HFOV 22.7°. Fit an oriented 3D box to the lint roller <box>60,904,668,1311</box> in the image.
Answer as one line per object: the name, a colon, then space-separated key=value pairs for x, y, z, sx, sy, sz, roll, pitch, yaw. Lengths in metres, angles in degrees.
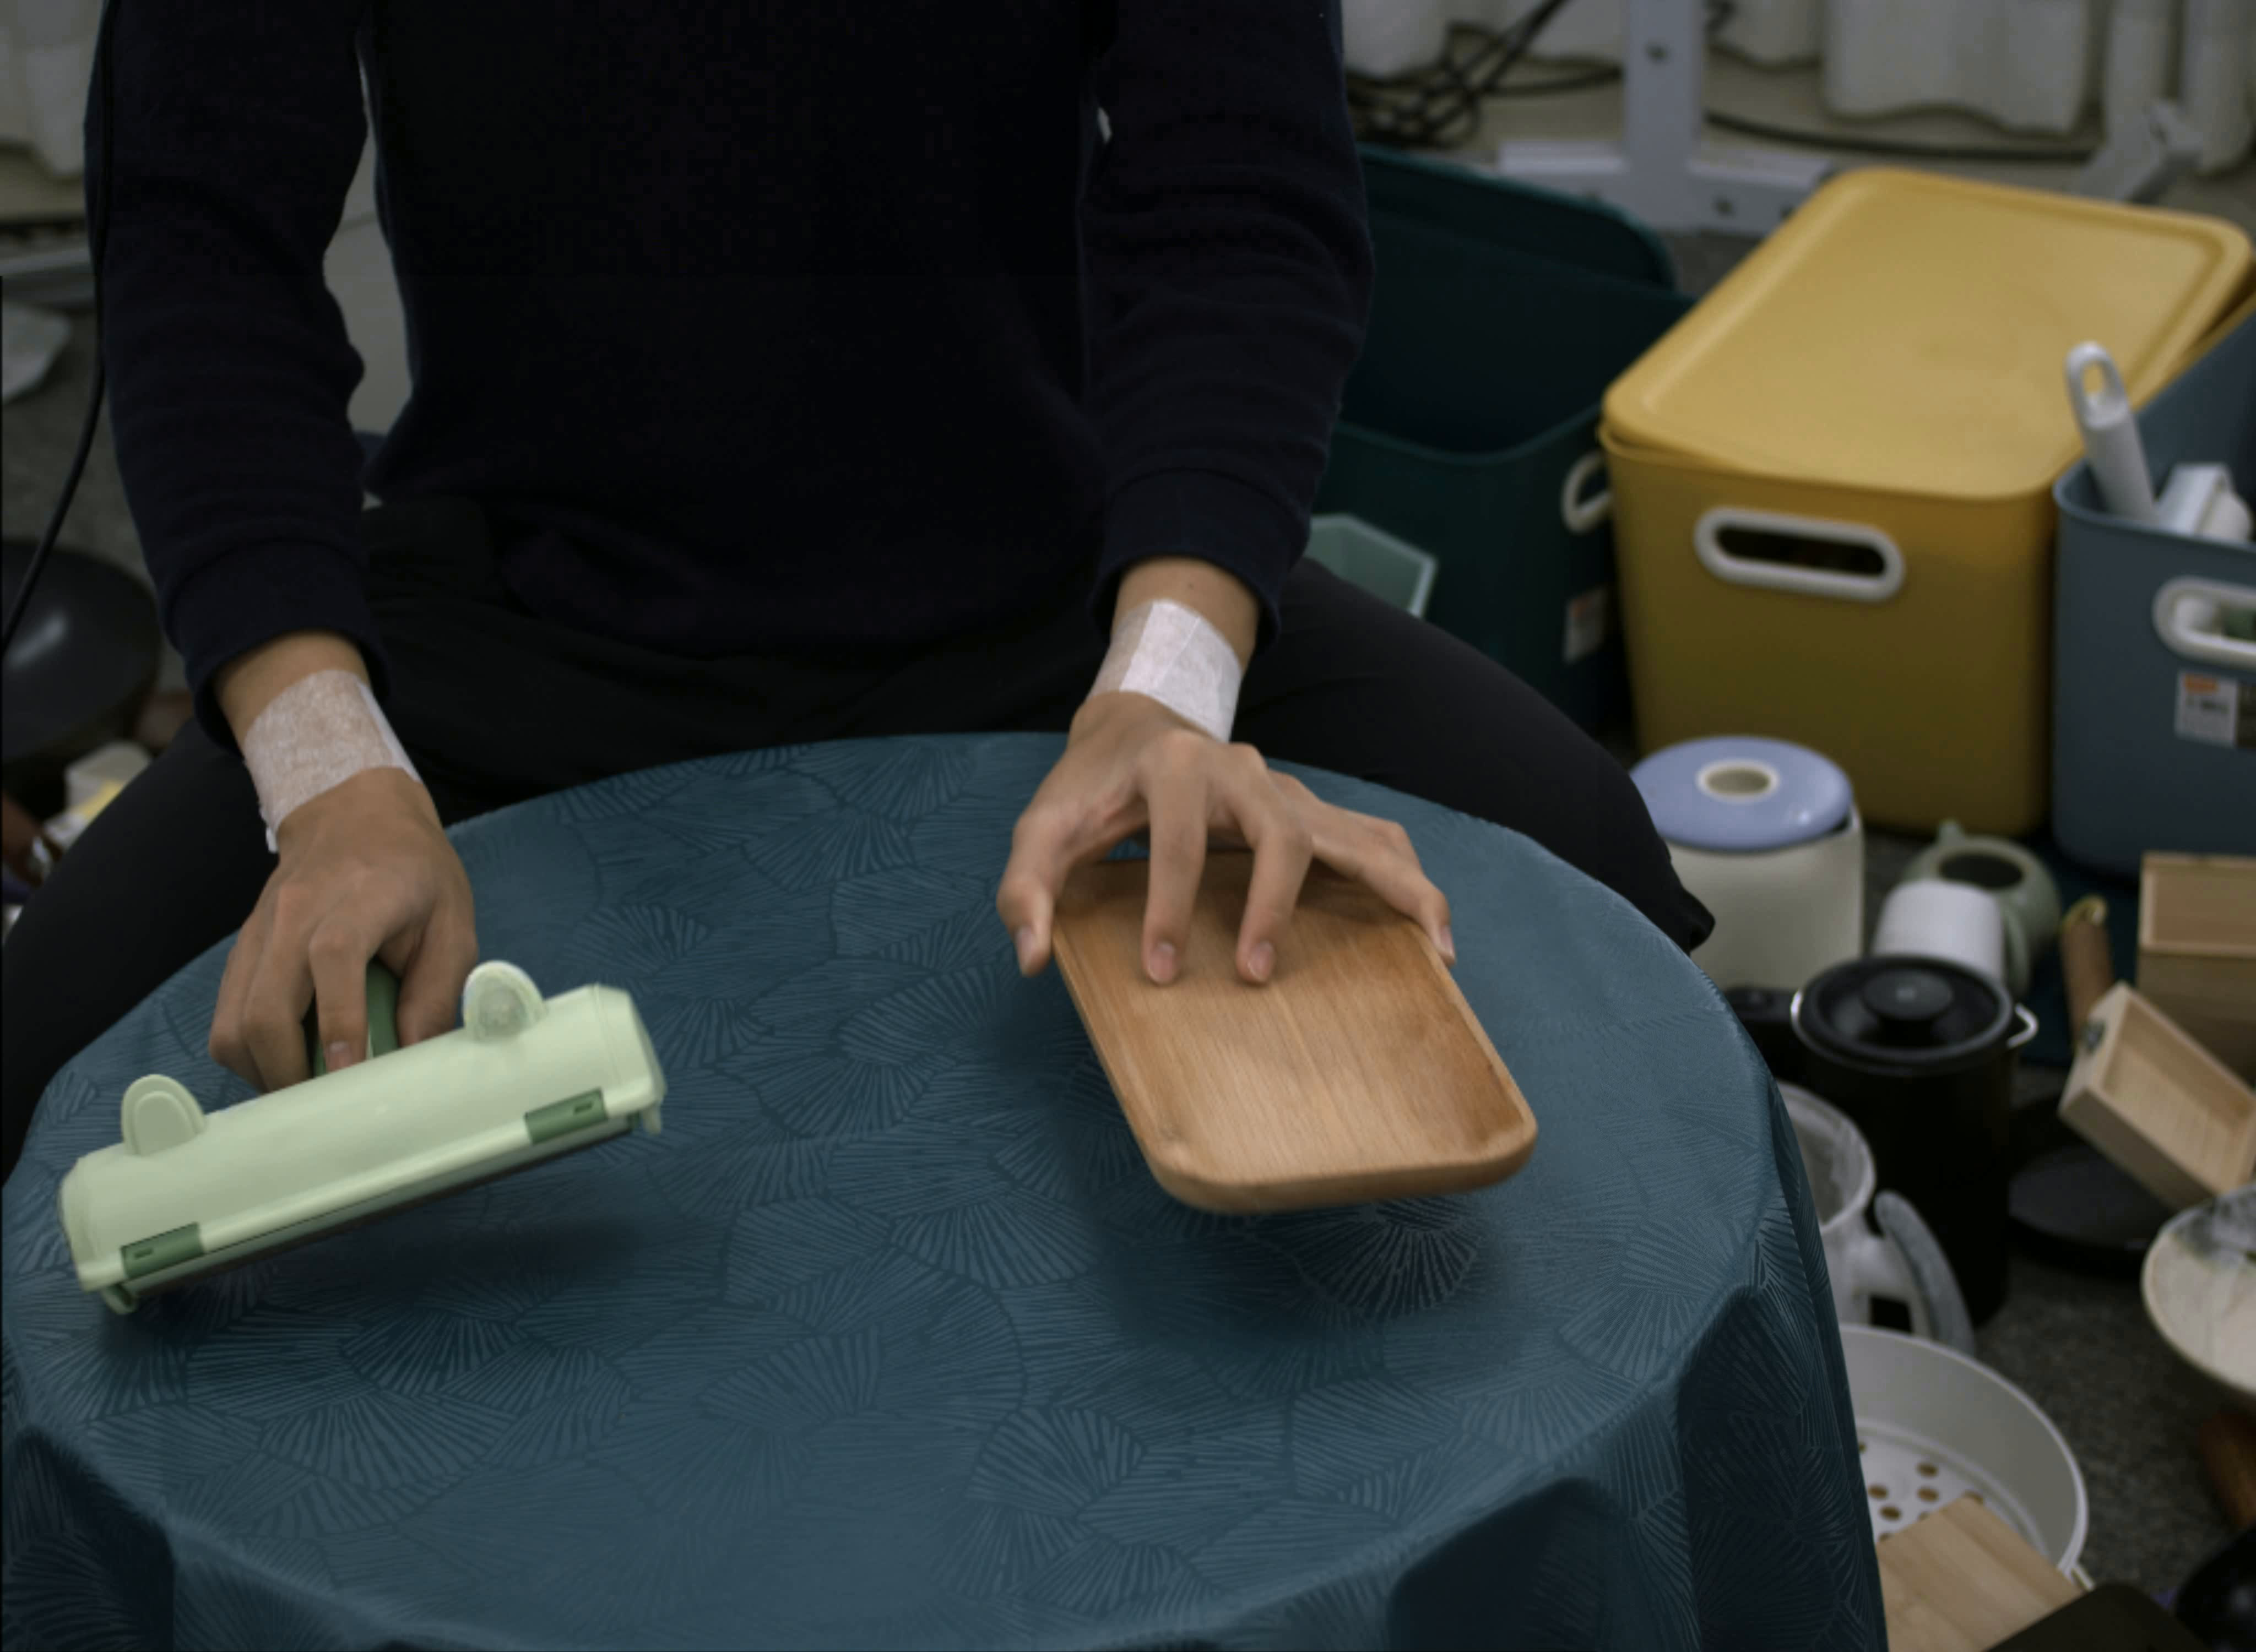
lint roller: x=-0.262 y=0.064 z=1.862 sx=0.198 sy=0.081 sz=0.186 roll=-20 pitch=39 yaw=-4

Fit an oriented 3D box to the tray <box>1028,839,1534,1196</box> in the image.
tray: x=0.047 y=0.061 z=1.866 sx=0.130 sy=0.022 sz=0.253 roll=-1 pitch=22 yaw=-11
